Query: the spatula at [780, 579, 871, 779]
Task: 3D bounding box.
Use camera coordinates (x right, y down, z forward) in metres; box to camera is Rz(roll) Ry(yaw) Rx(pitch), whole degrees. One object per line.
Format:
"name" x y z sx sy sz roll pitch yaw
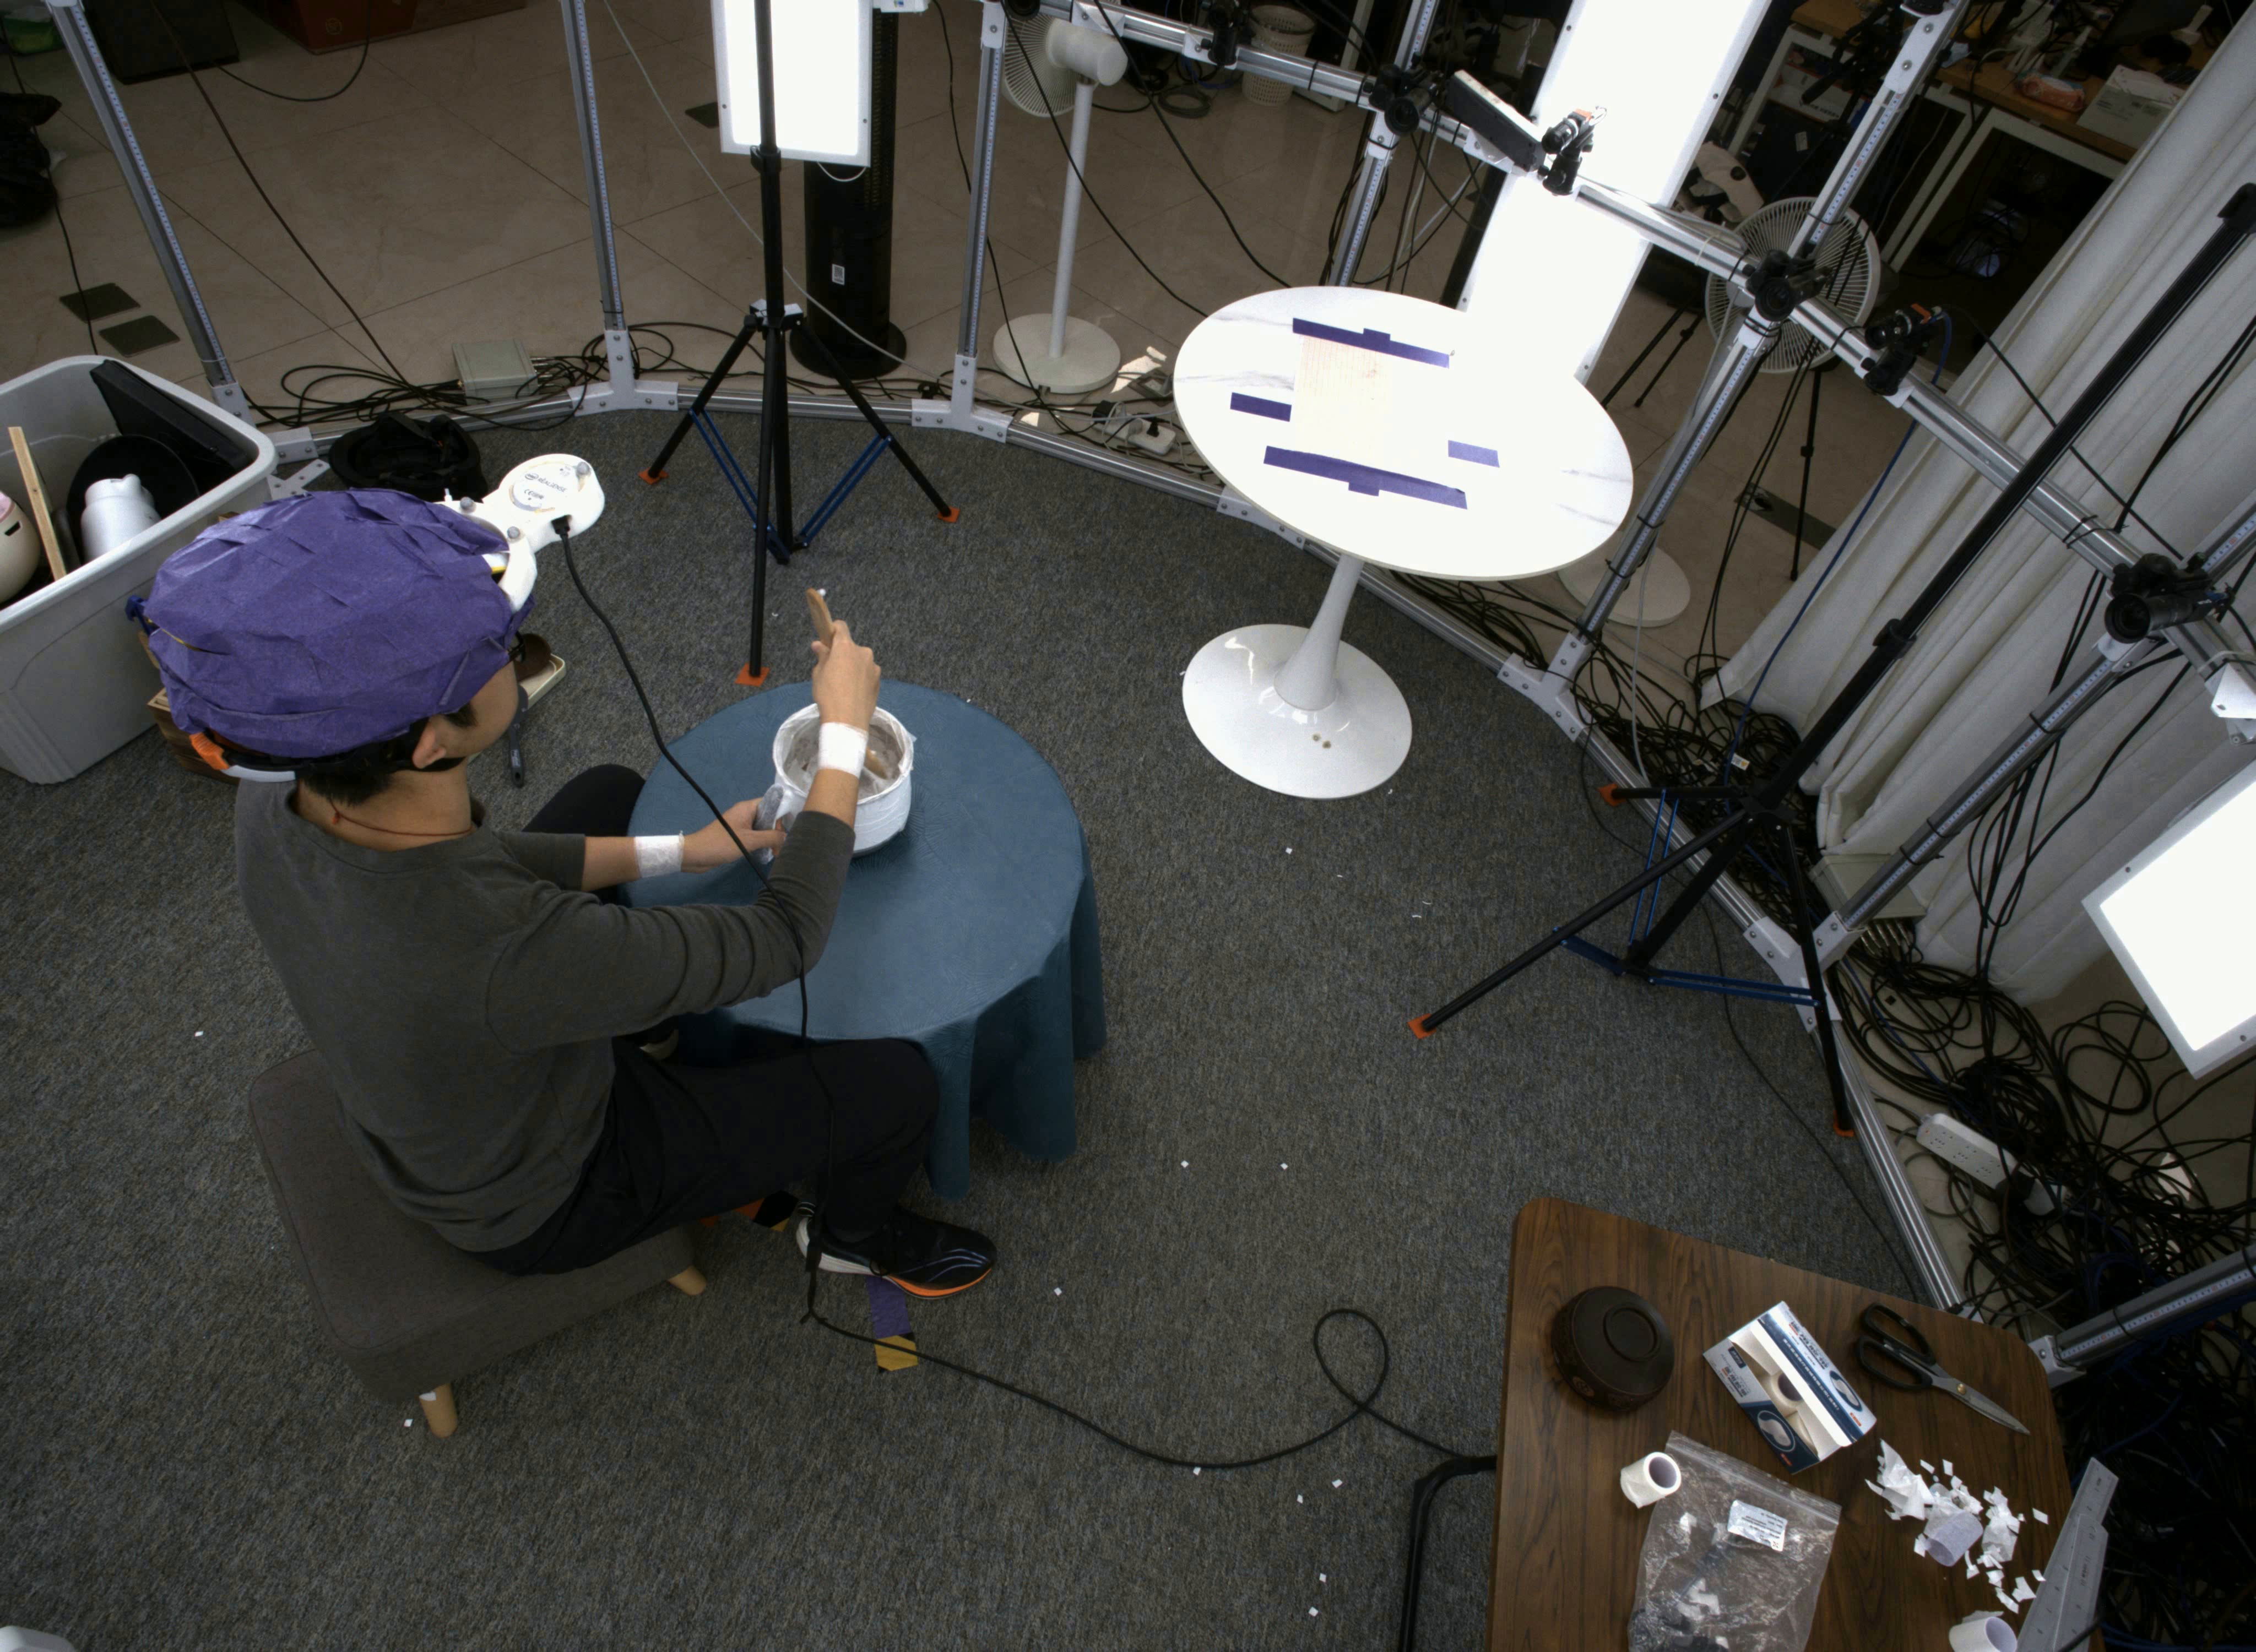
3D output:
"spatula" -0.367 -0.168 1.548 0.094 0.398 0.018 36 66 13

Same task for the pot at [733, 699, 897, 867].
"pot" -0.411 -0.041 1.683 0.175 0.139 0.234 40 56 17
